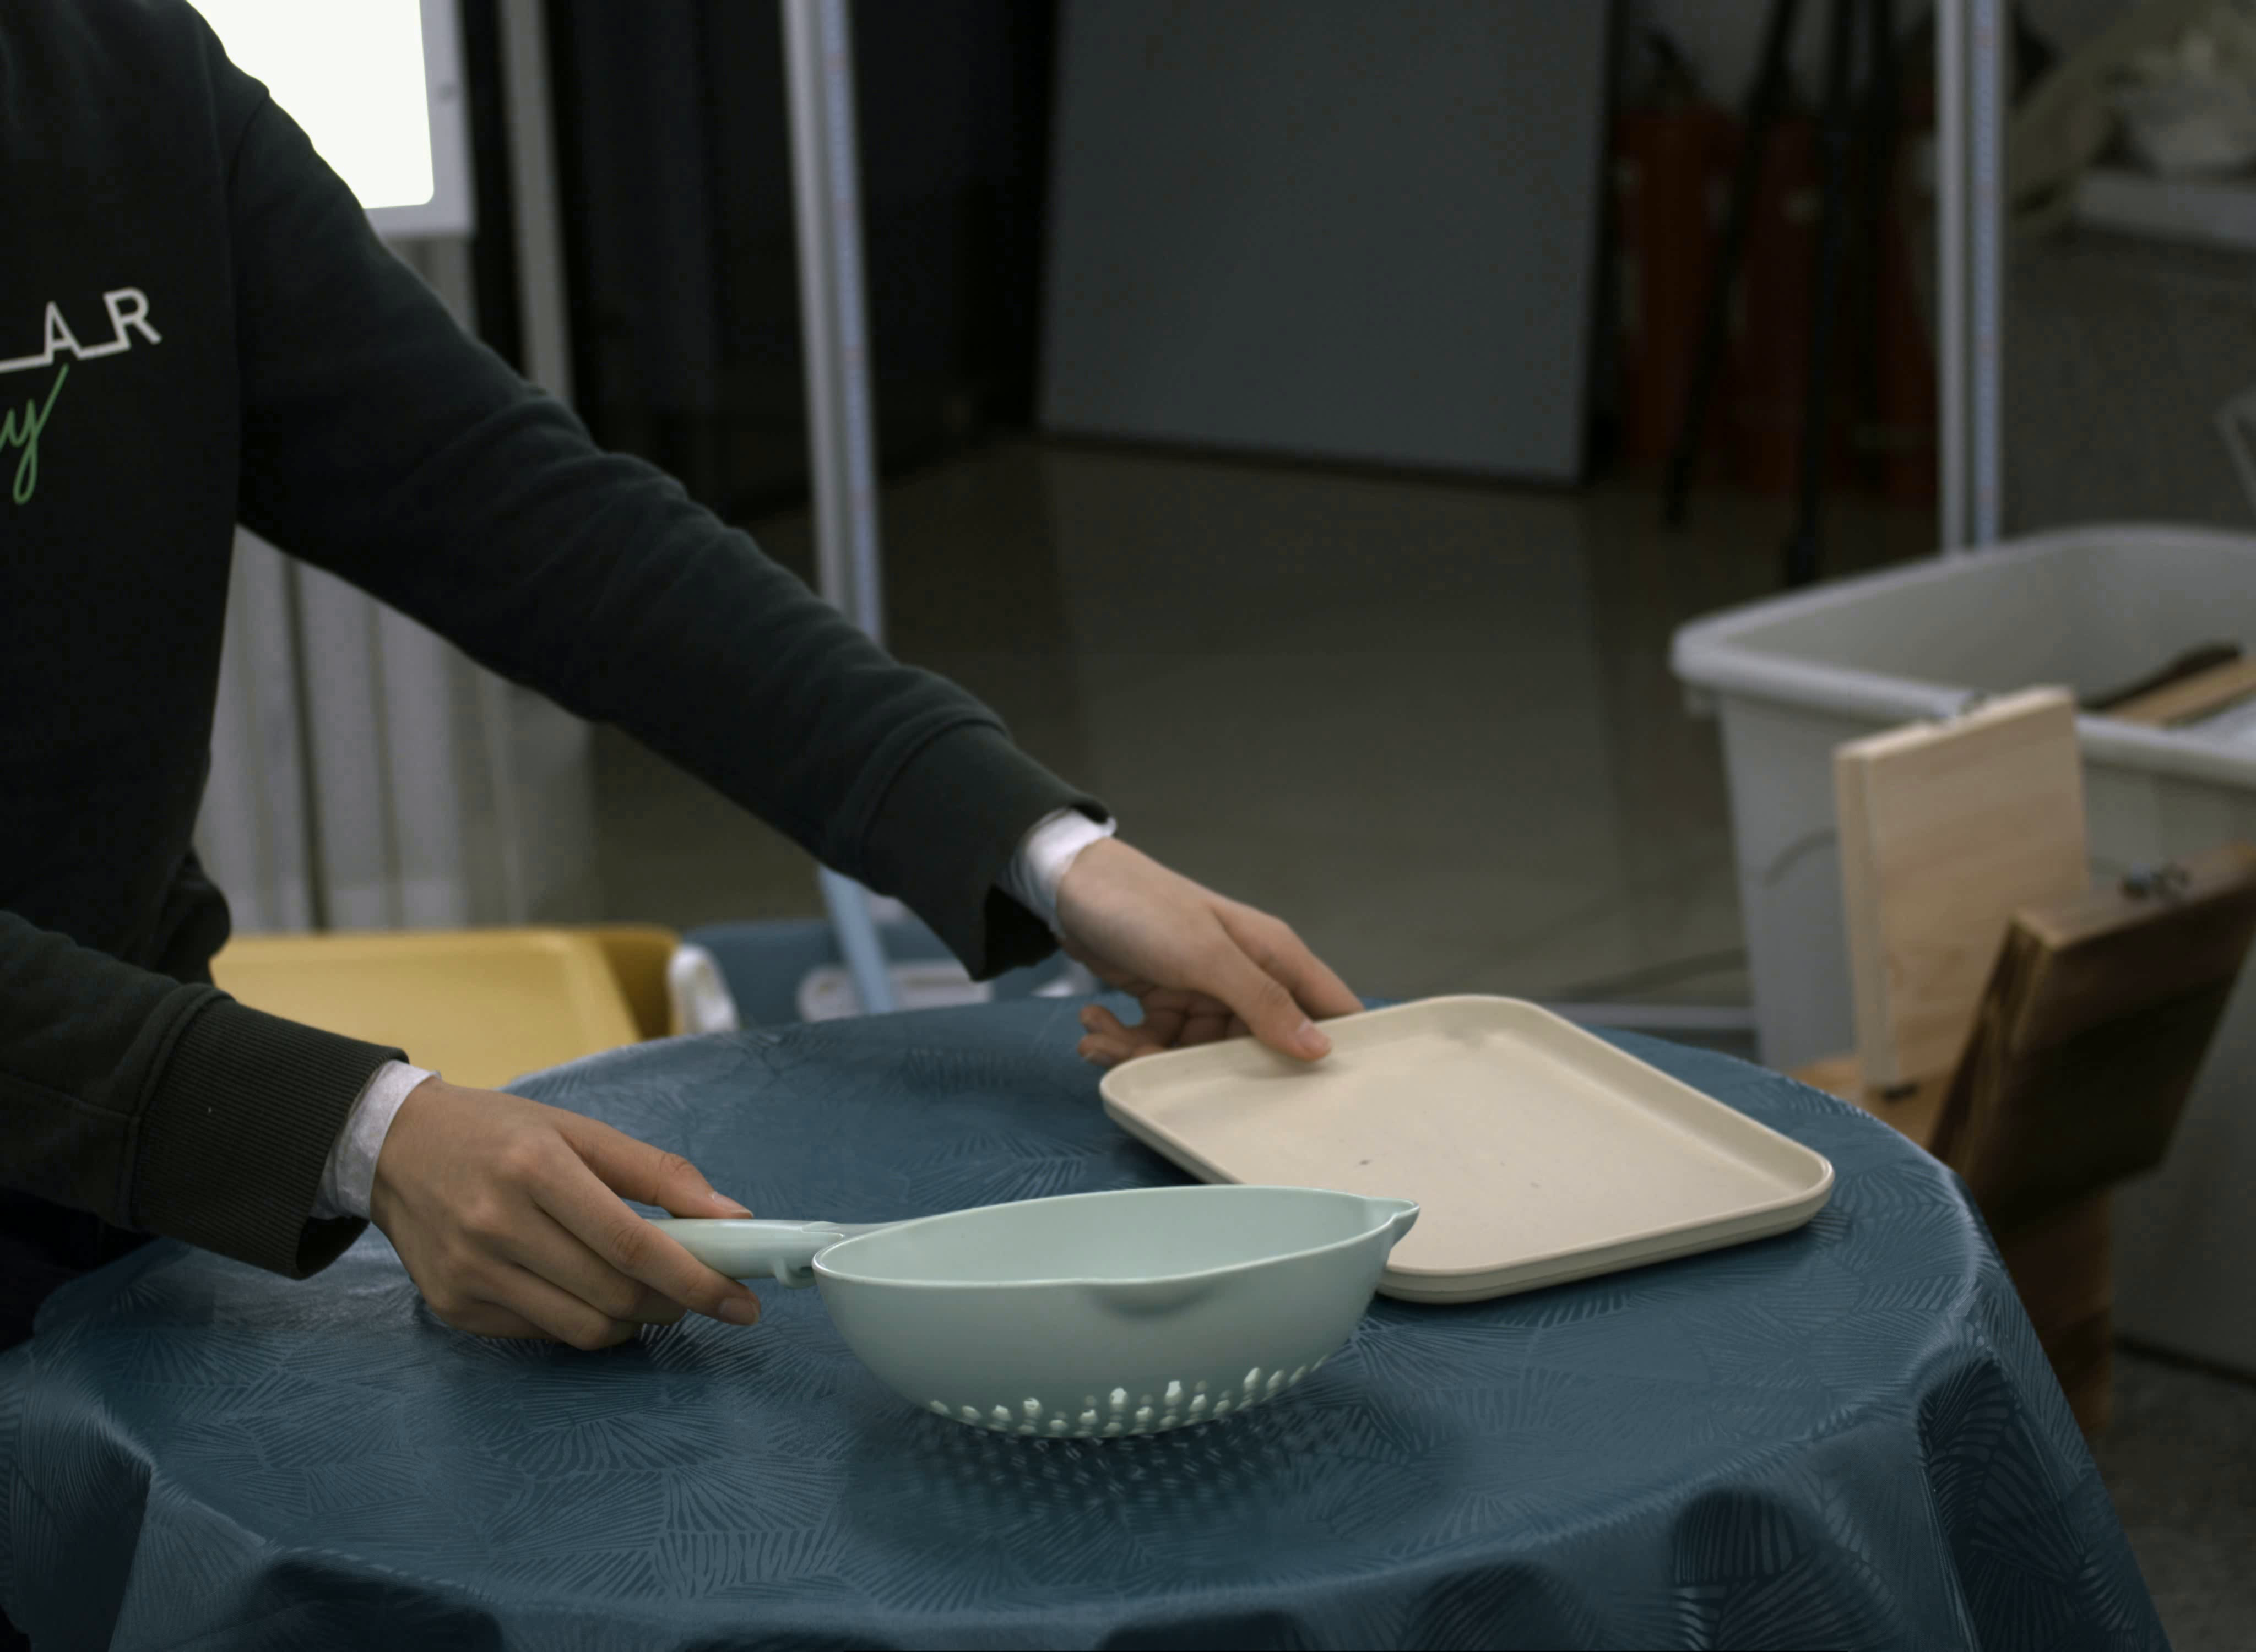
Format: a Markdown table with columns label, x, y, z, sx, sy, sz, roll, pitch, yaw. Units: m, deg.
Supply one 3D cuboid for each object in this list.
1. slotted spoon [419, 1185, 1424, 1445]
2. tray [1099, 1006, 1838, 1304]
| label | x | y | z | sx | sy | sz | roll | pitch | yaw |
| --- | --- | --- | --- | --- | --- | --- | --- | --- | --- |
| slotted spoon | -0.081 | 0.132 | 1.608 | 0.361 | 0.076 | 0.166 | 8 | 9 | 38 |
| tray | 0.107 | 0.106 | 1.752 | 0.167 | 0.017 | 0.242 | -10 | 17 | -24 |
